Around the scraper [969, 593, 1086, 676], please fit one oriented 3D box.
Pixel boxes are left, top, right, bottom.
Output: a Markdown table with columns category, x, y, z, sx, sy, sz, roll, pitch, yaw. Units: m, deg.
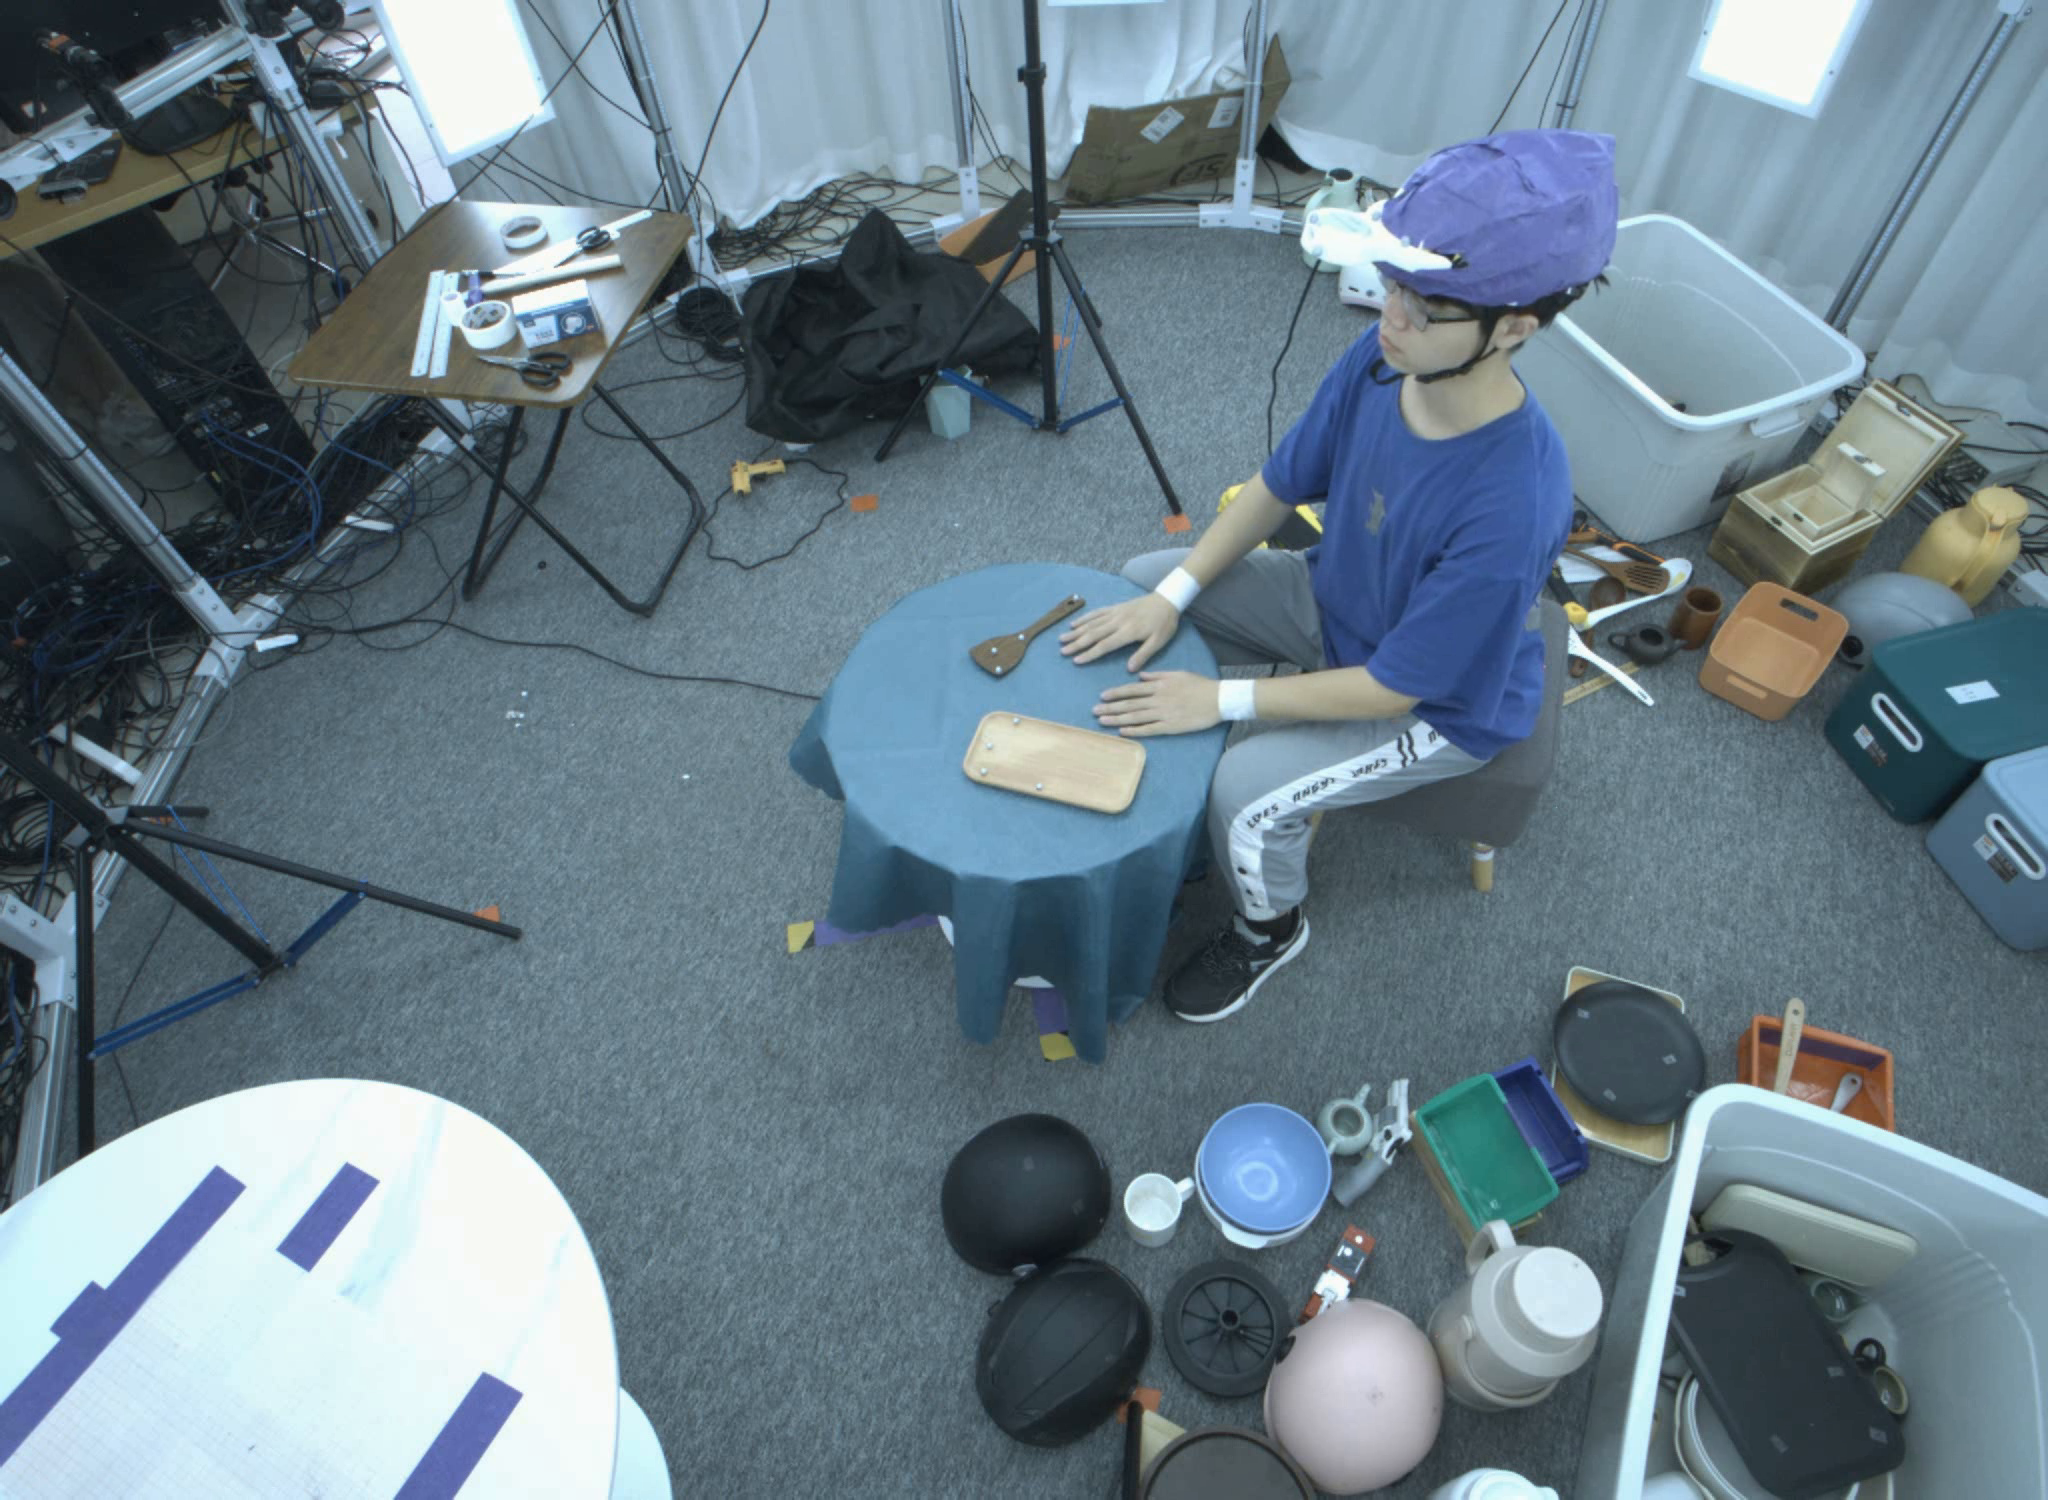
| category | x | y | z | sx | sy | sz | roll | pitch | yaw |
| --- | --- | --- | --- | --- | --- | --- | --- | --- | --- |
| scraper | 0.013 | -0.185 | 1.905 | 0.213 | 0.011 | 0.074 | -36 | 62 | -22 |

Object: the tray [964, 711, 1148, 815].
| category | x | y | z | sx | sy | sz | roll | pitch | yaw |
| --- | --- | --- | --- | --- | --- | --- | --- | --- | --- |
| tray | 0.045 | 0.017 | 1.753 | 0.248 | 0.023 | 0.130 | 14 | 59 | 11 |
